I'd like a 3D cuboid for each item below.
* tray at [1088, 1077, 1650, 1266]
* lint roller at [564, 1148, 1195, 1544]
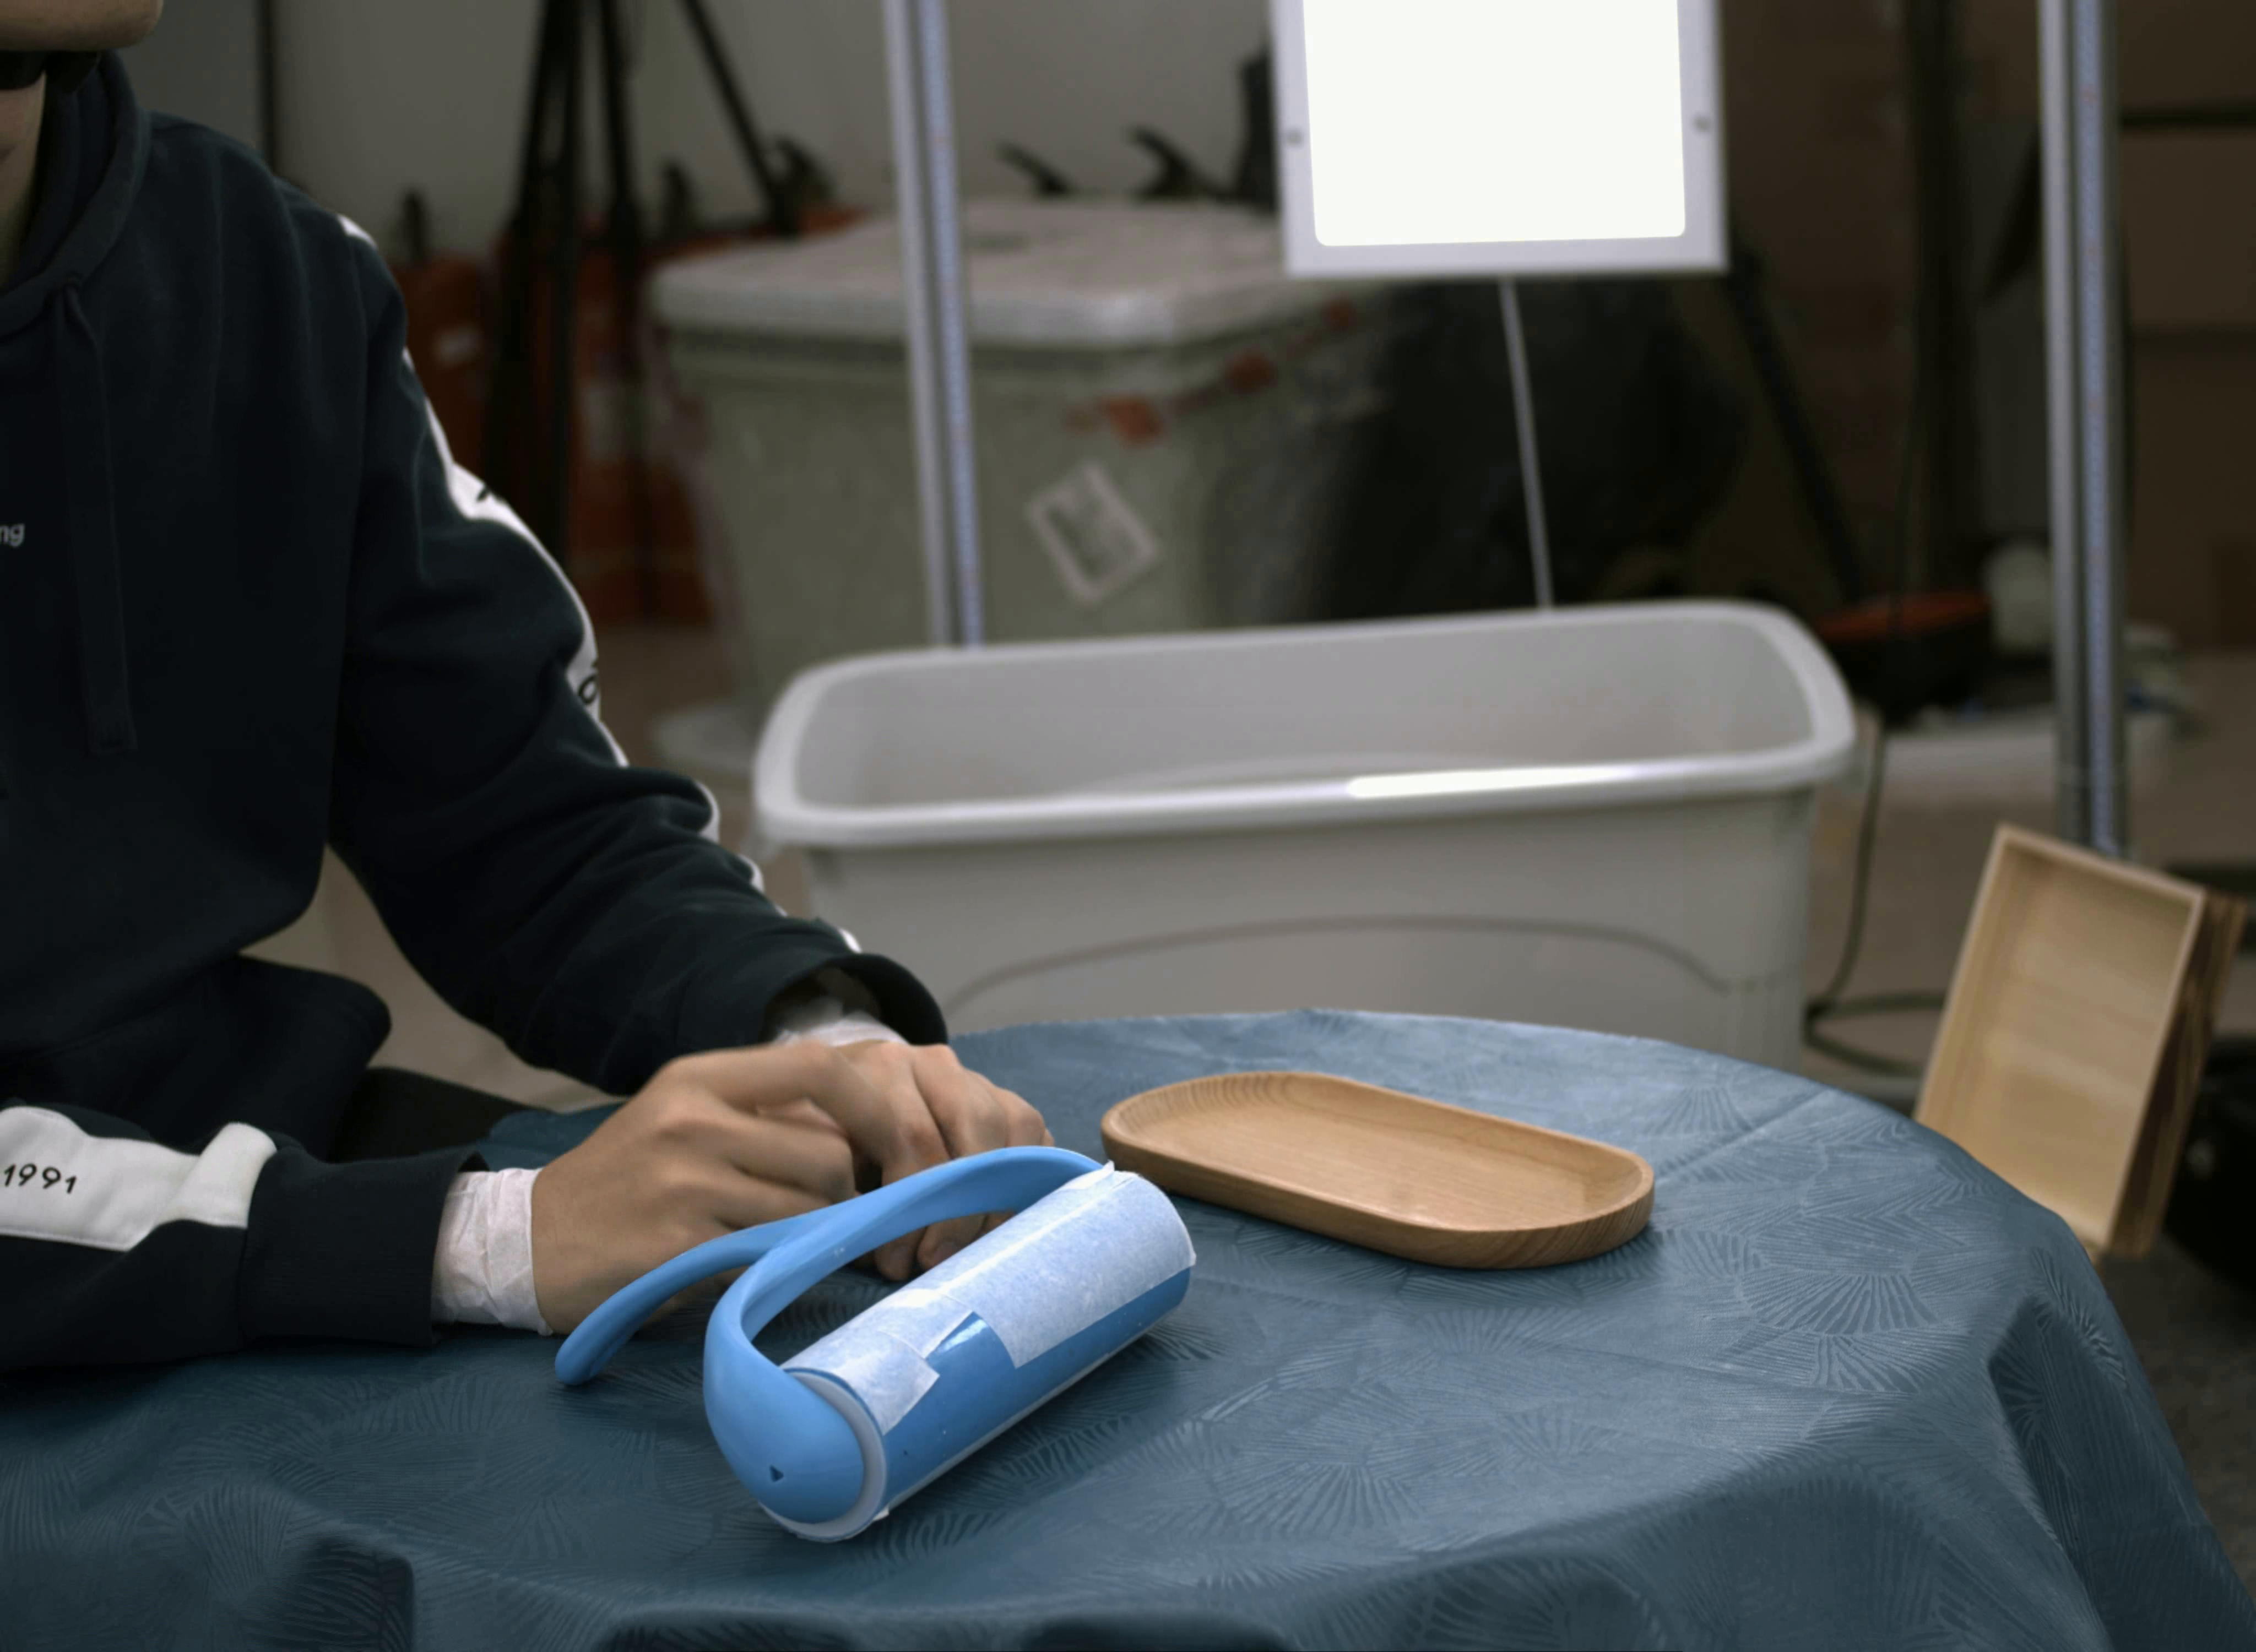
[{"bbox_3d":[0.080,0.117,1.873,0.099,0.020,0.236,-14,15,-38],"label":"tray"},{"bbox_3d":[-0.099,0.154,1.699,0.183,0.068,0.224,3,18,26],"label":"lint roller"}]
